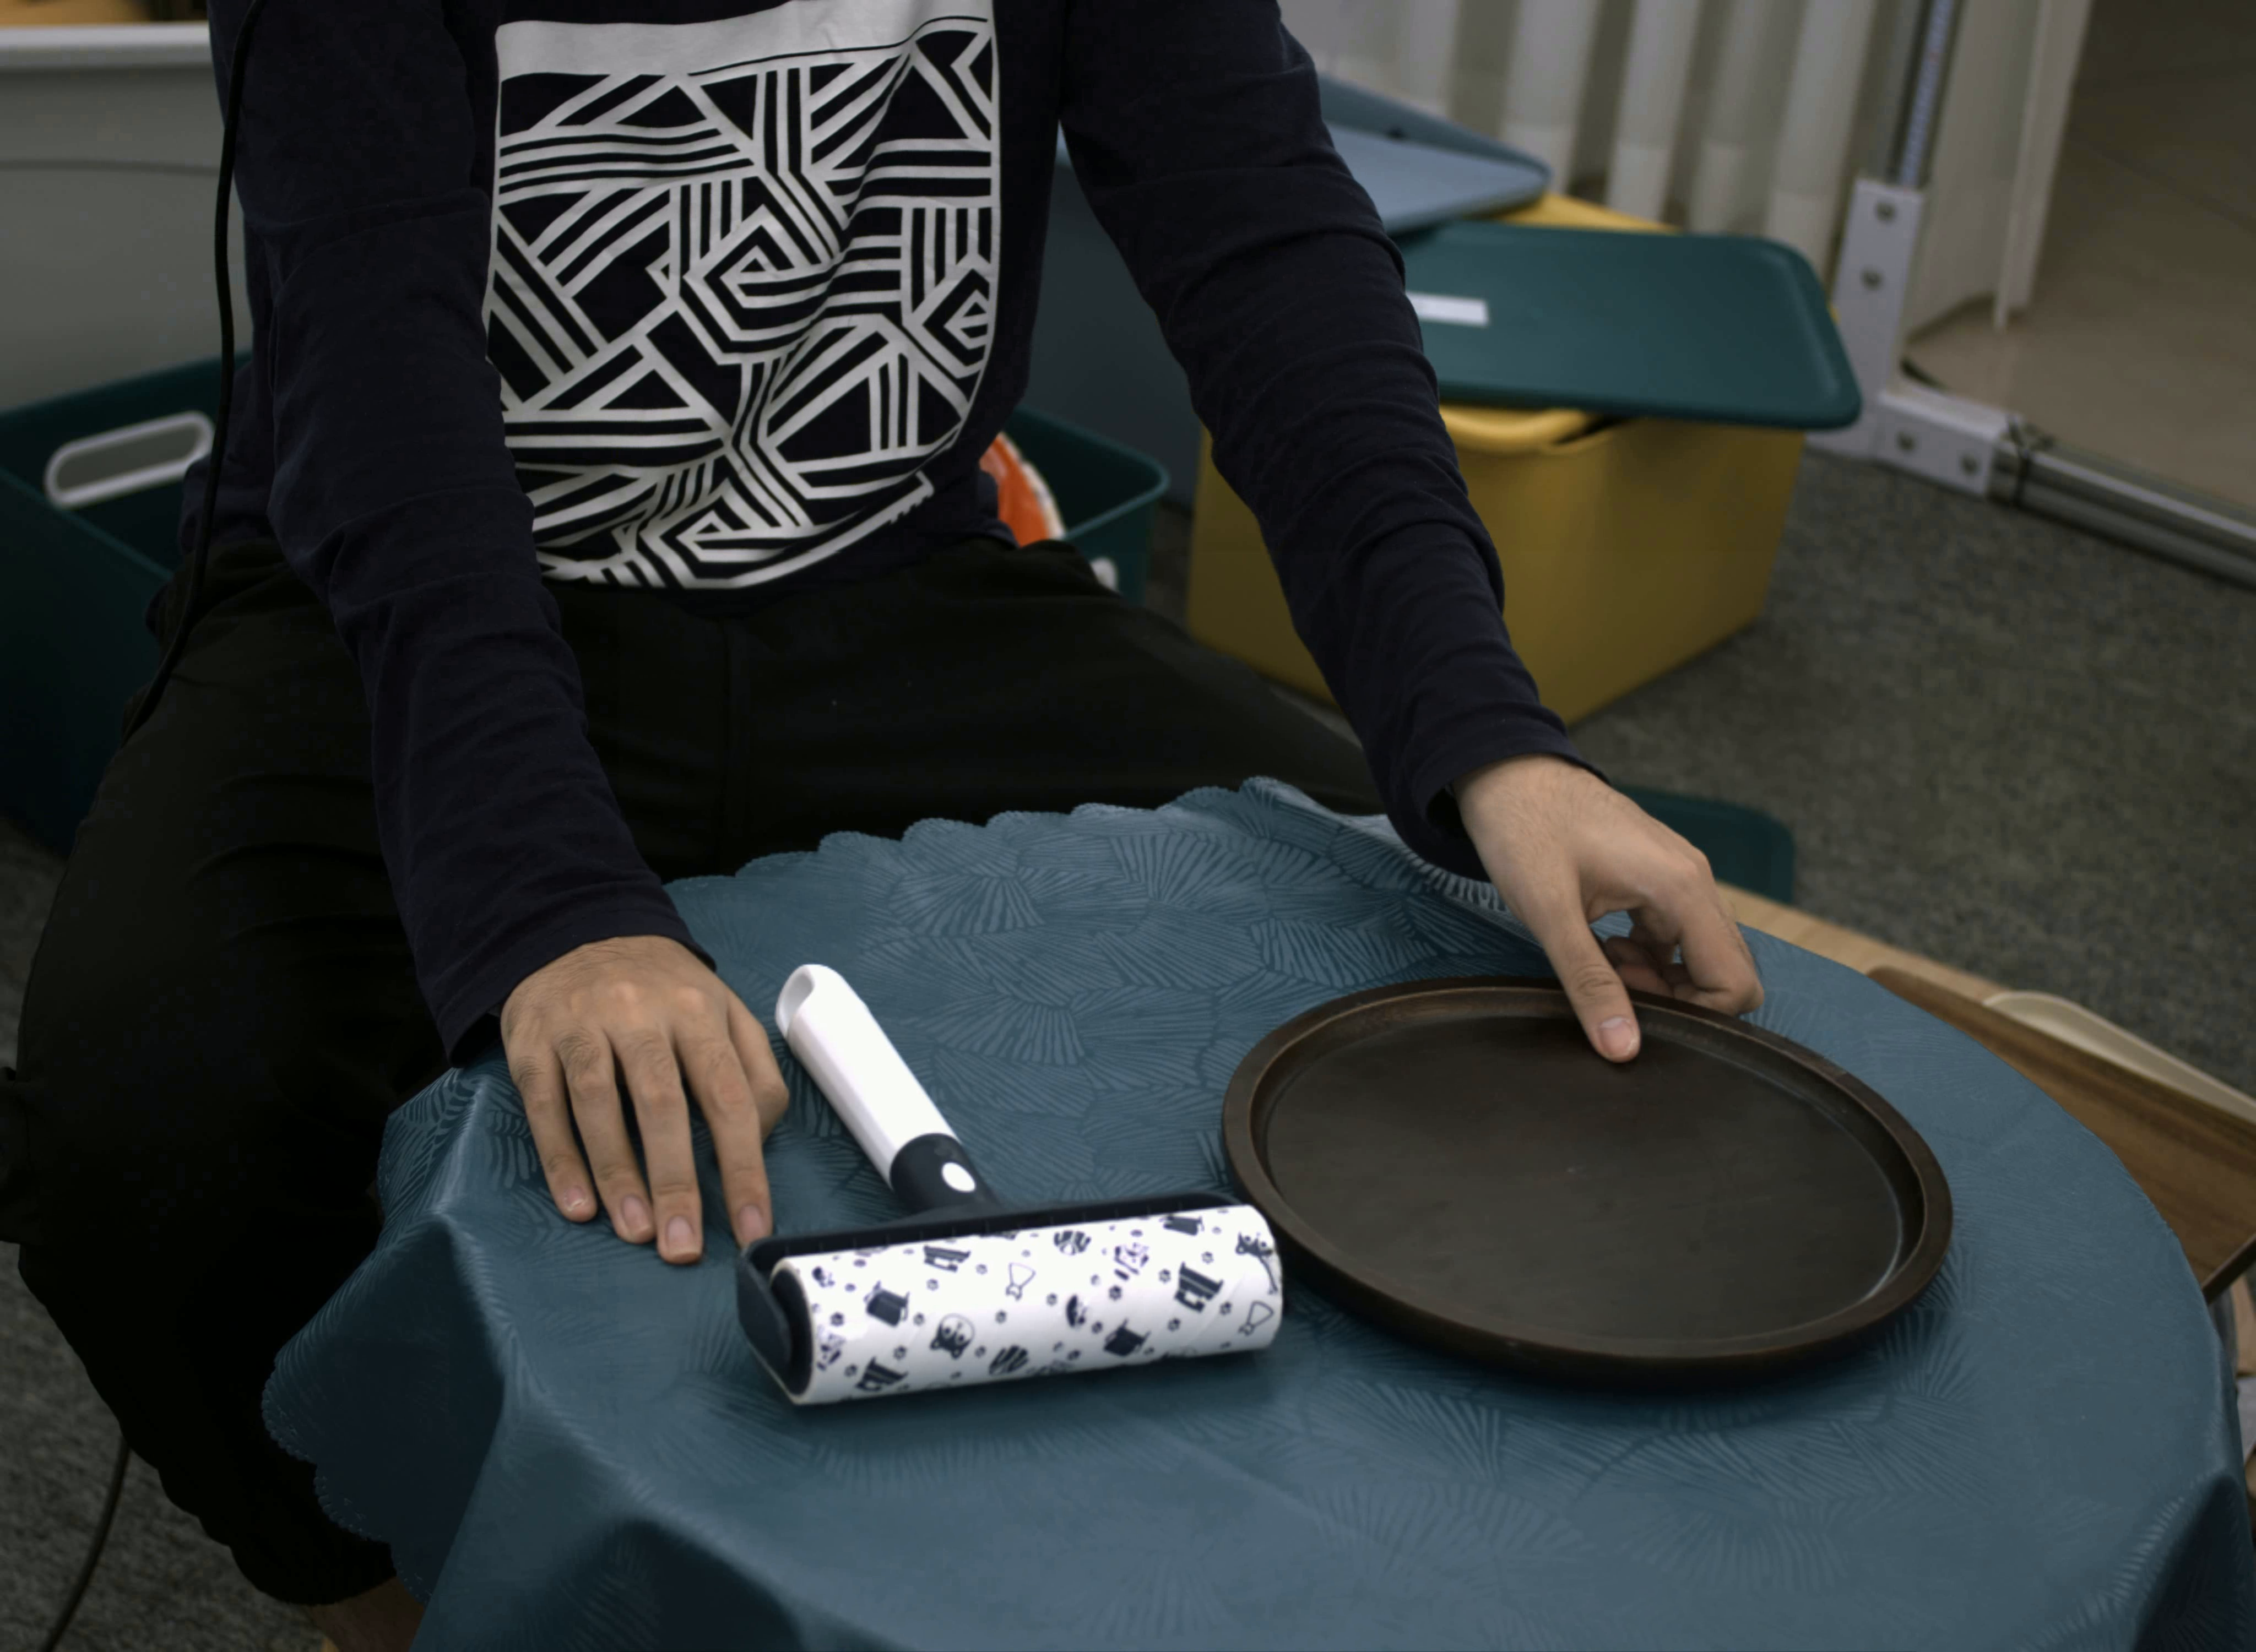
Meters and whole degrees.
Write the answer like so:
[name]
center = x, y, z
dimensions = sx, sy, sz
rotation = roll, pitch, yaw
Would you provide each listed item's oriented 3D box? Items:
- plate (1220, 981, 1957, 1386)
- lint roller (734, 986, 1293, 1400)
[plate]
center = 0.157, 0.121, 1.823
dimensions = 0.254, 0.029, 0.256
rotation = 5, 25, -2
[lint roller]
center = -0.072, 0.108, 1.775
dimensions = 0.175, 0.050, 0.249
rotation = -6, 27, -21
